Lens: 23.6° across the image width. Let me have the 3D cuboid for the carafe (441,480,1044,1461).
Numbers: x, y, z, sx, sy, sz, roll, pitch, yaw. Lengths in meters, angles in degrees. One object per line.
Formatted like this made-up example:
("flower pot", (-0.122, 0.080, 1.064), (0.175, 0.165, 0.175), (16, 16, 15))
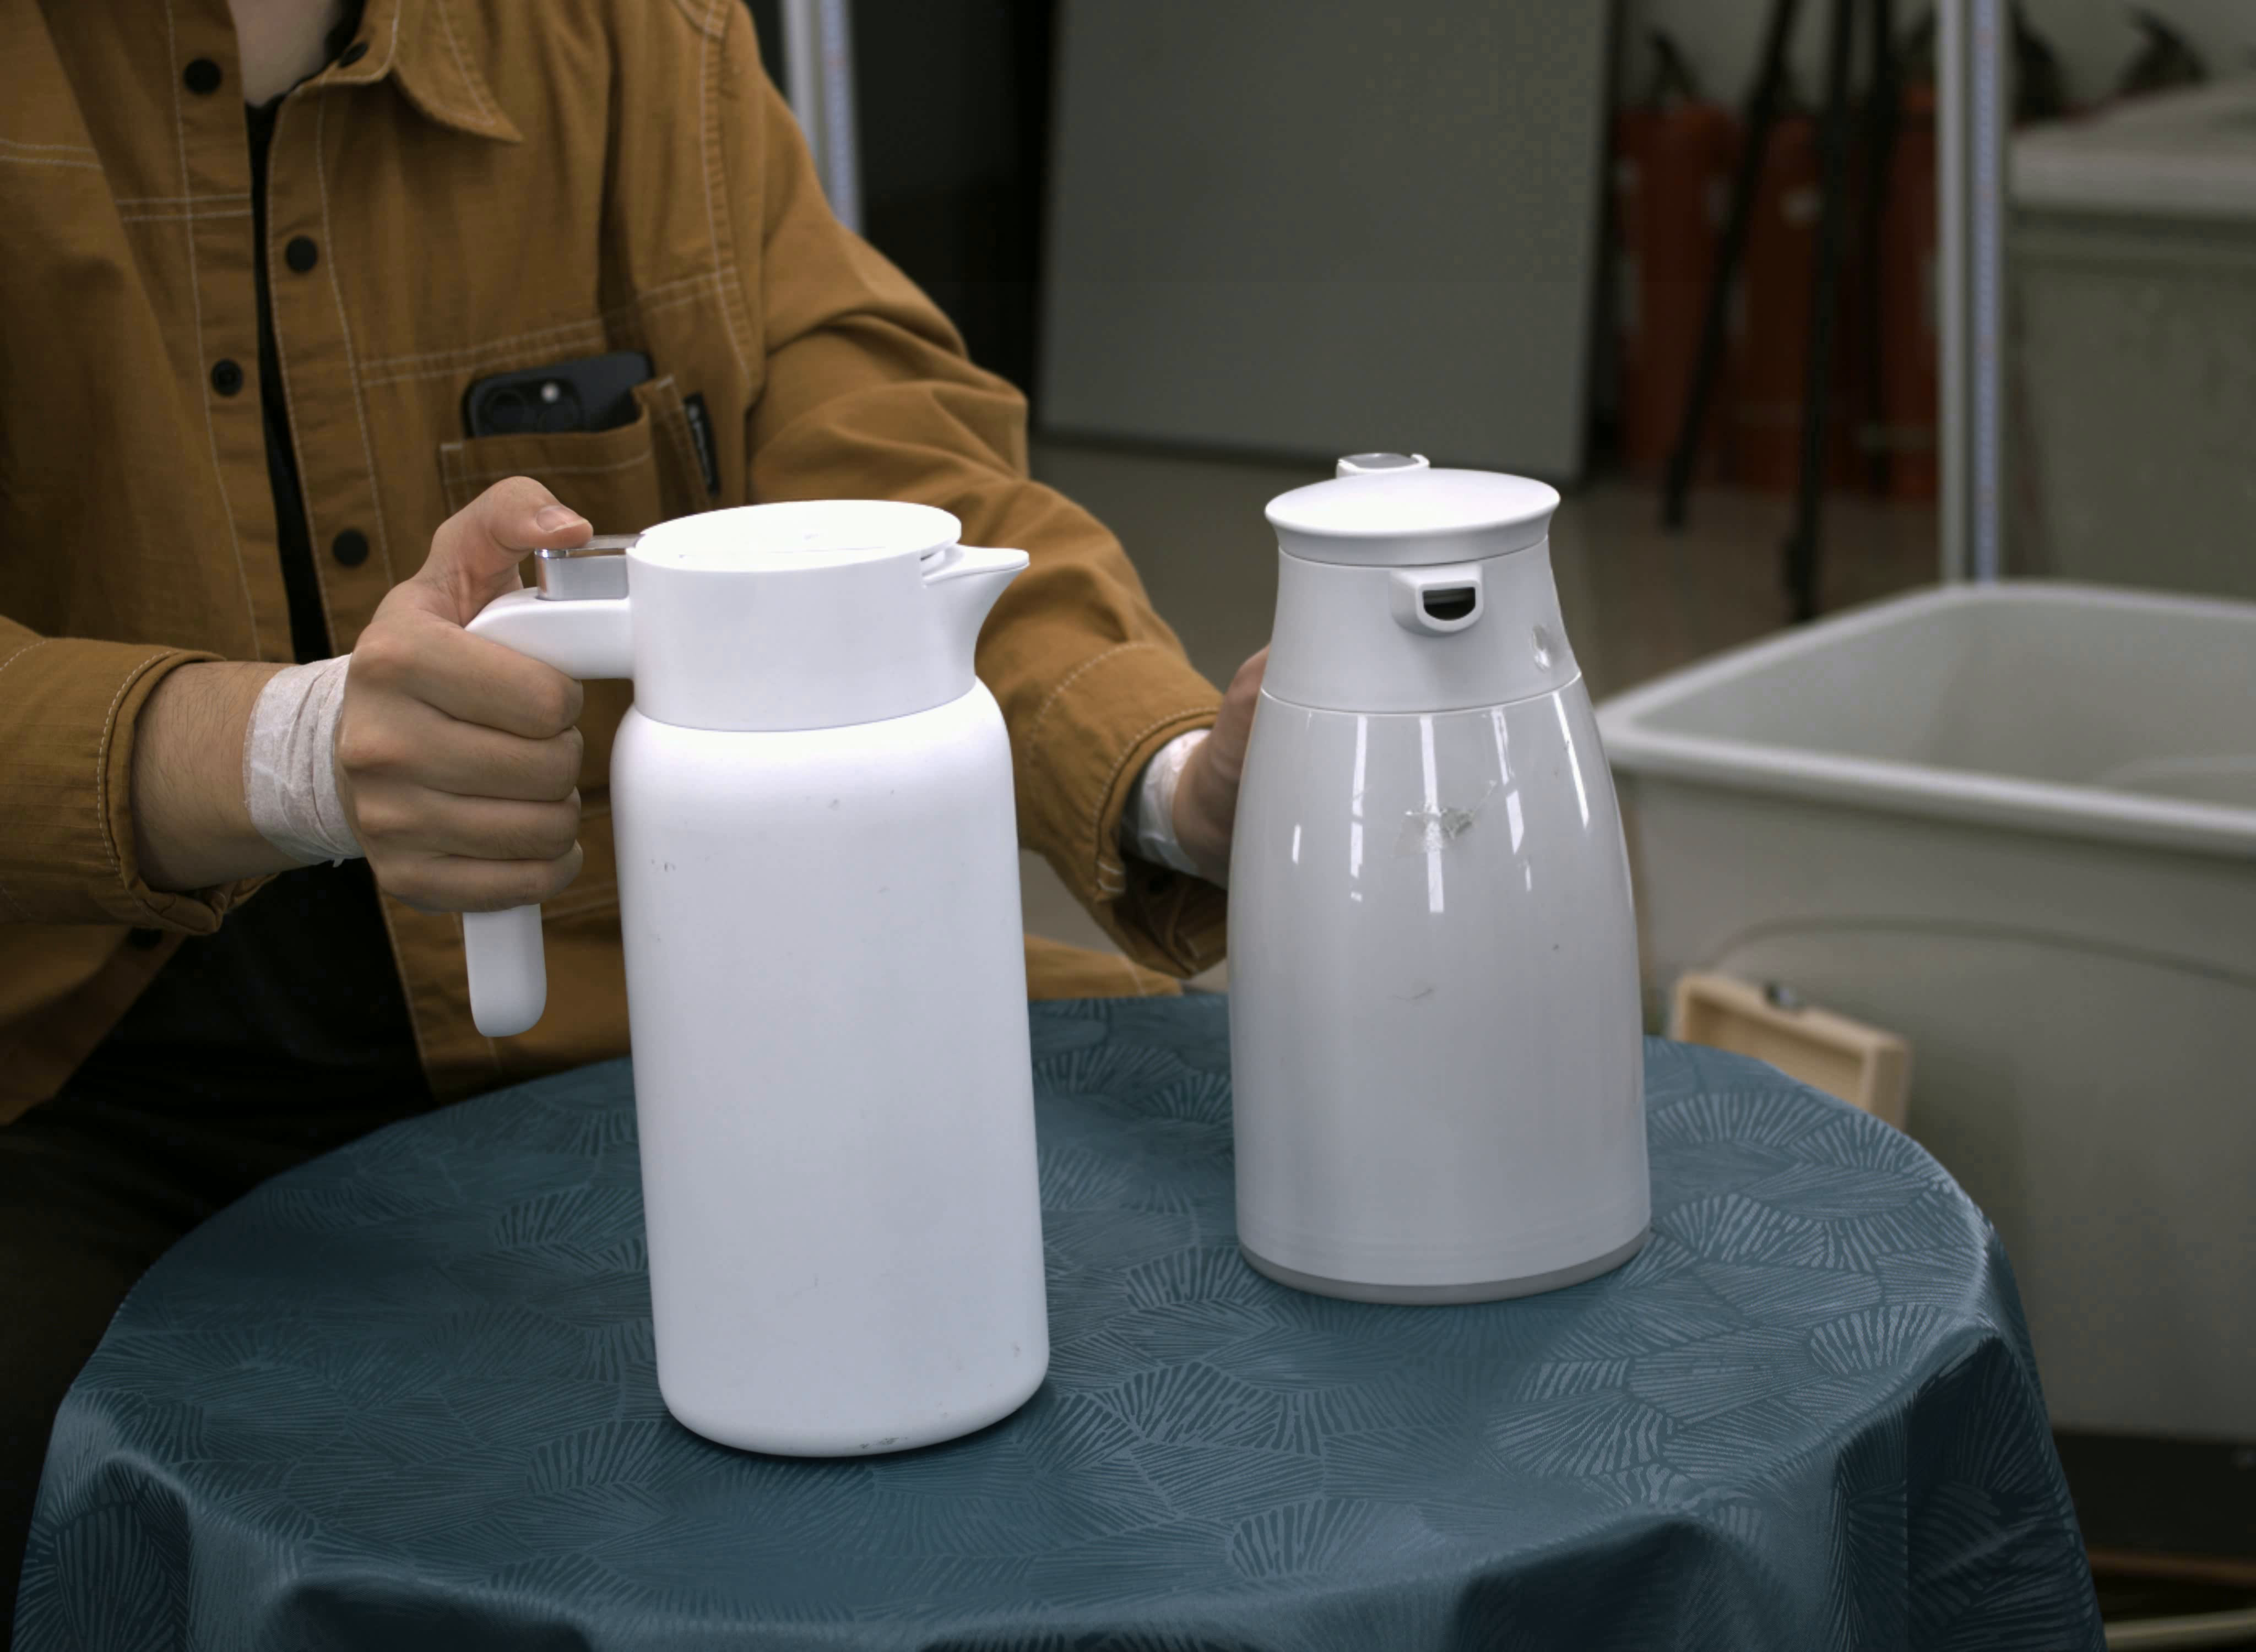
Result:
("carafe", (-0.106, 0.042, 1.568), (0.171, 0.272, 0.123), (-2, 16, 7))

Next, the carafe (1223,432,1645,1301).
("carafe", (0.088, 0.005, 1.696), (0.130, 0.251, 0.168), (-5, 12, -6))
